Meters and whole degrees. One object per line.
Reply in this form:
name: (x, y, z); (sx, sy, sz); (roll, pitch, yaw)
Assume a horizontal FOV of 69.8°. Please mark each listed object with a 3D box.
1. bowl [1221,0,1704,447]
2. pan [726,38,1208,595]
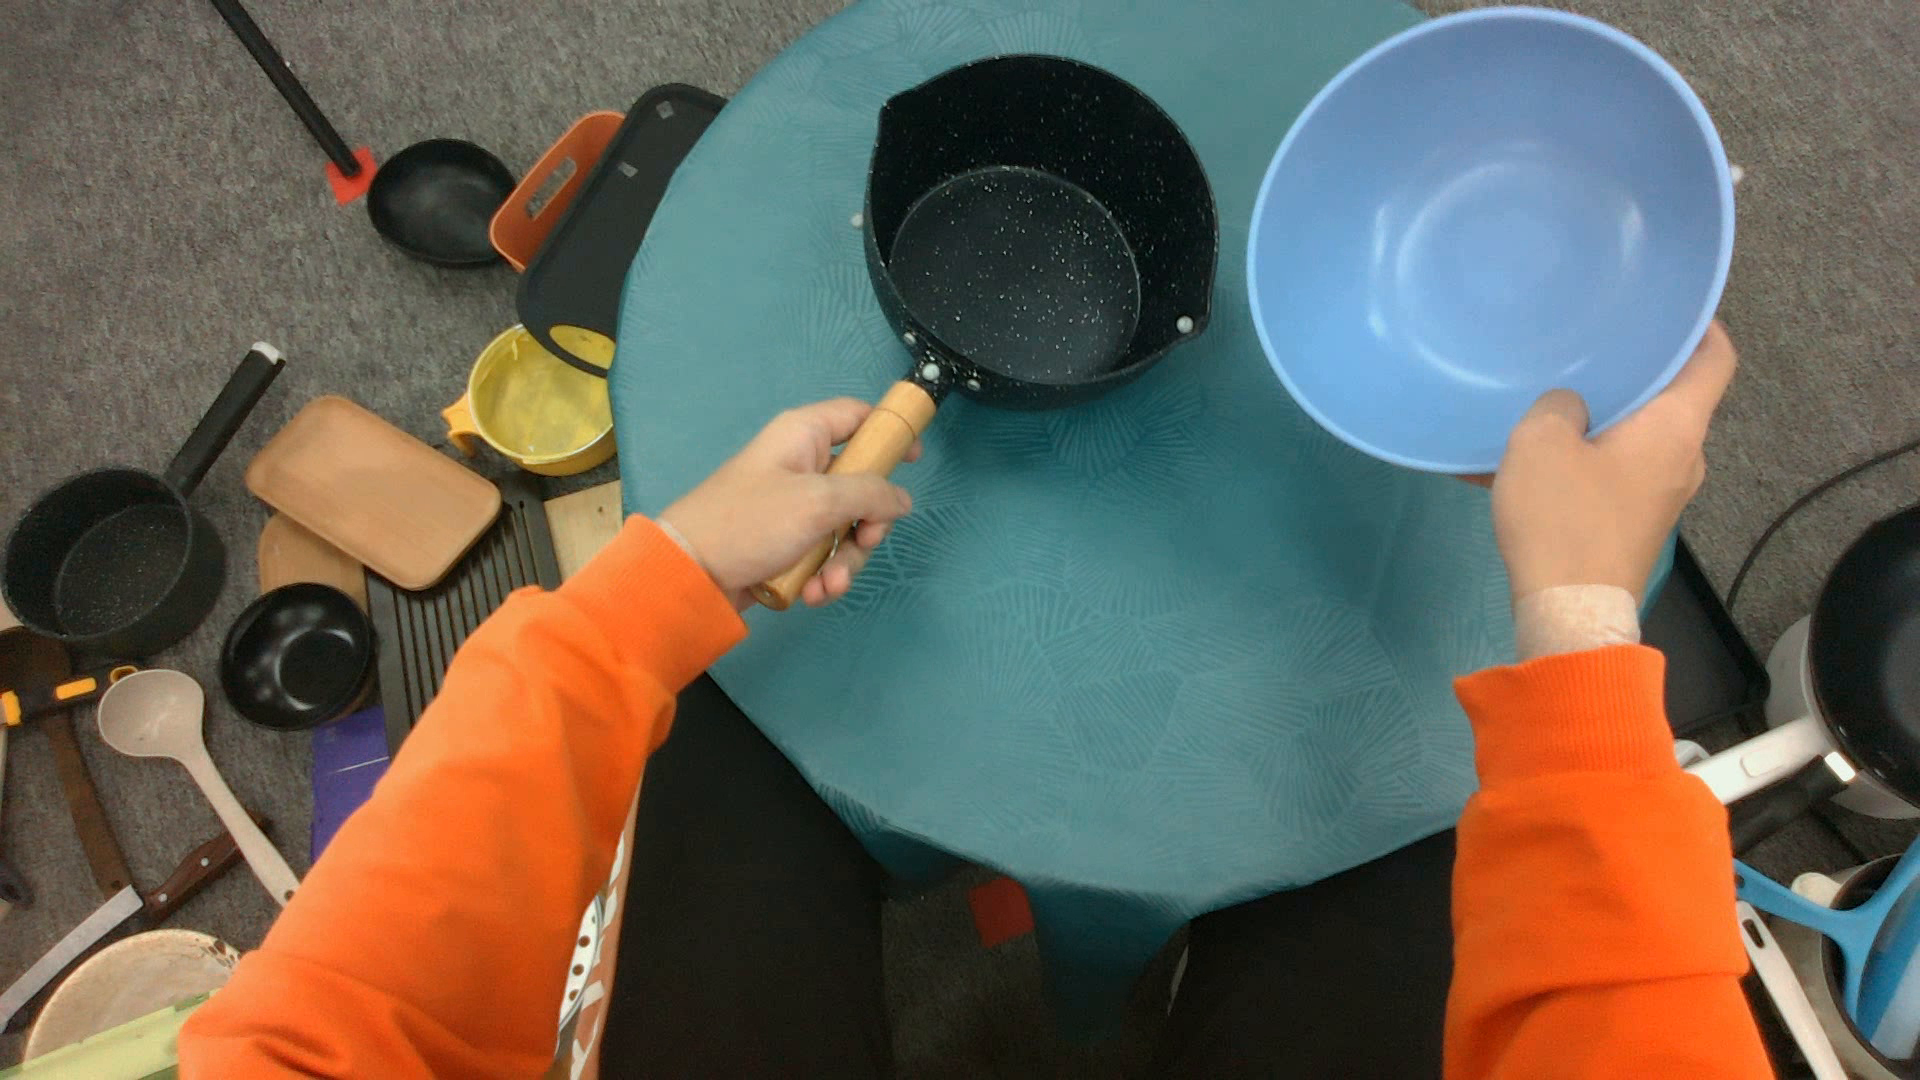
bowl: (0.225, -0.142, 0.611); (0.196, 0.096, 0.196); (5, 100, 34)
pan: (-0.010, -0.101, 0.700); (0.207, 0.108, 0.344); (35, 71, -3)
